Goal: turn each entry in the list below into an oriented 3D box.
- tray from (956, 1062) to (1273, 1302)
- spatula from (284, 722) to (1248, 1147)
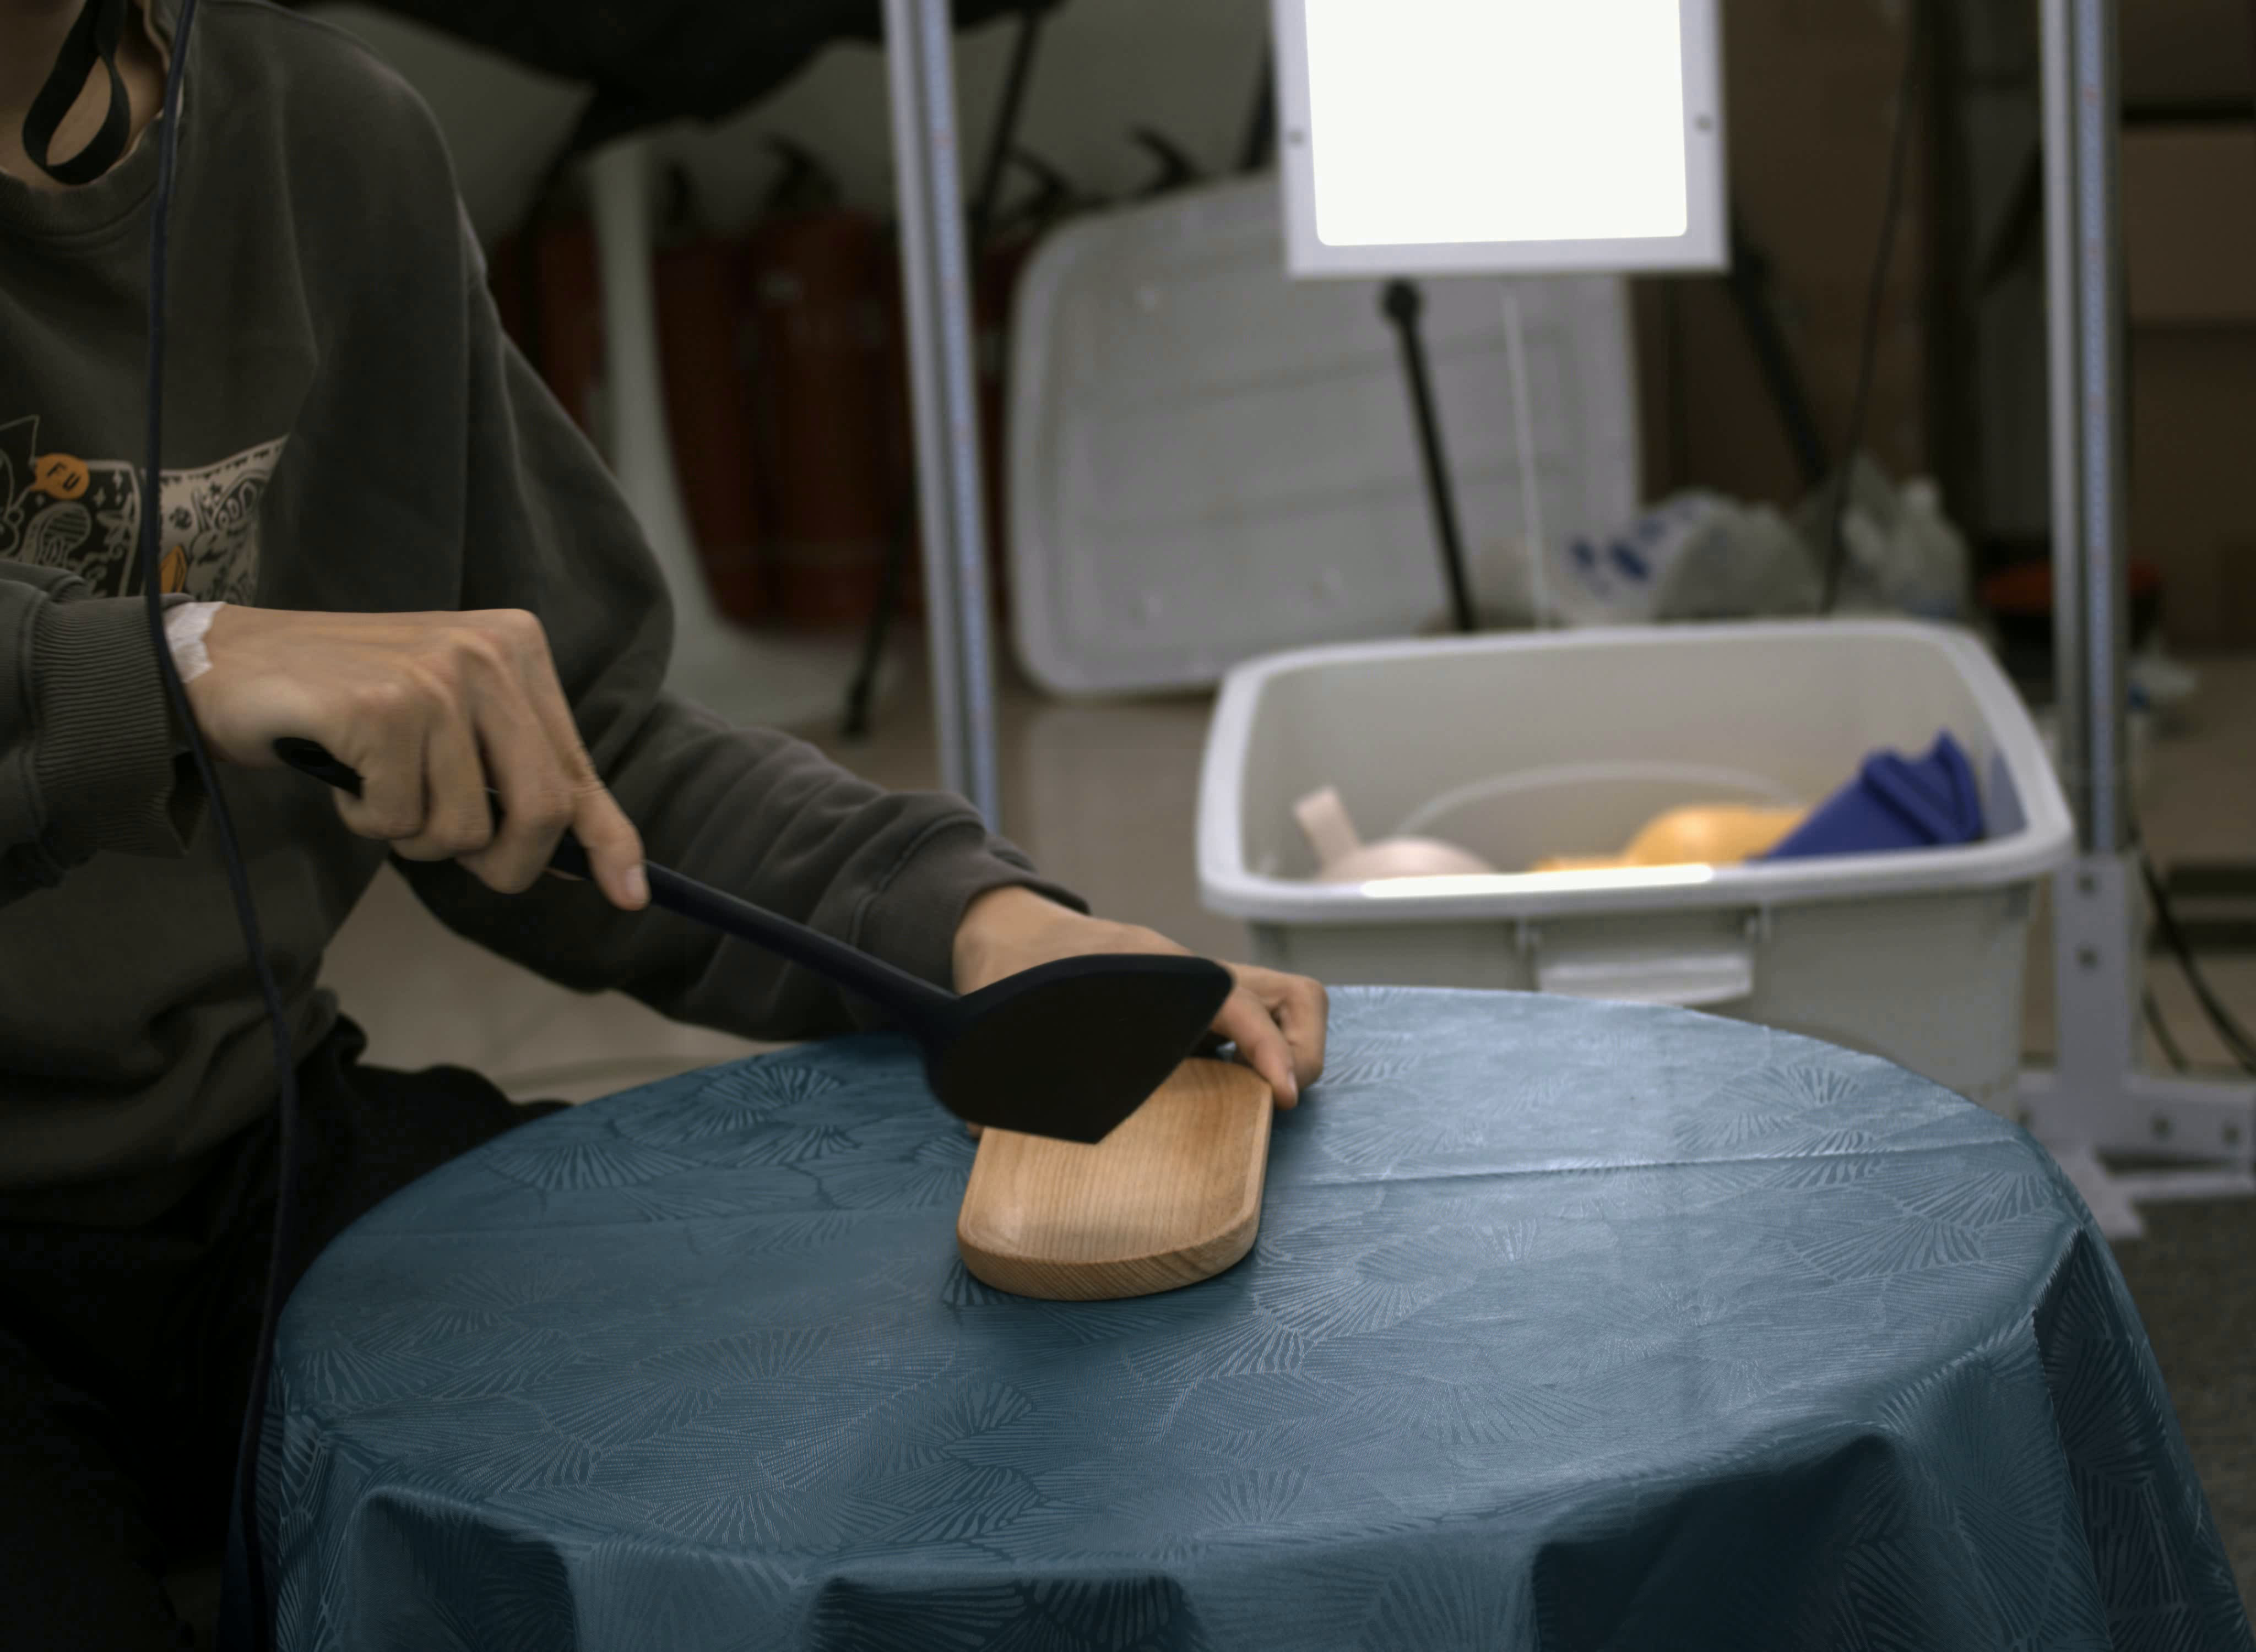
[{"bbox_3d":[-0.002,0.120,1.890,0.102,0.020,0.230,-5,15,5],"label":"tray"},{"bbox_3d":[-0.119,0.026,1.761,0.322,0.101,0.040,24,38,-16],"label":"spatula"}]
